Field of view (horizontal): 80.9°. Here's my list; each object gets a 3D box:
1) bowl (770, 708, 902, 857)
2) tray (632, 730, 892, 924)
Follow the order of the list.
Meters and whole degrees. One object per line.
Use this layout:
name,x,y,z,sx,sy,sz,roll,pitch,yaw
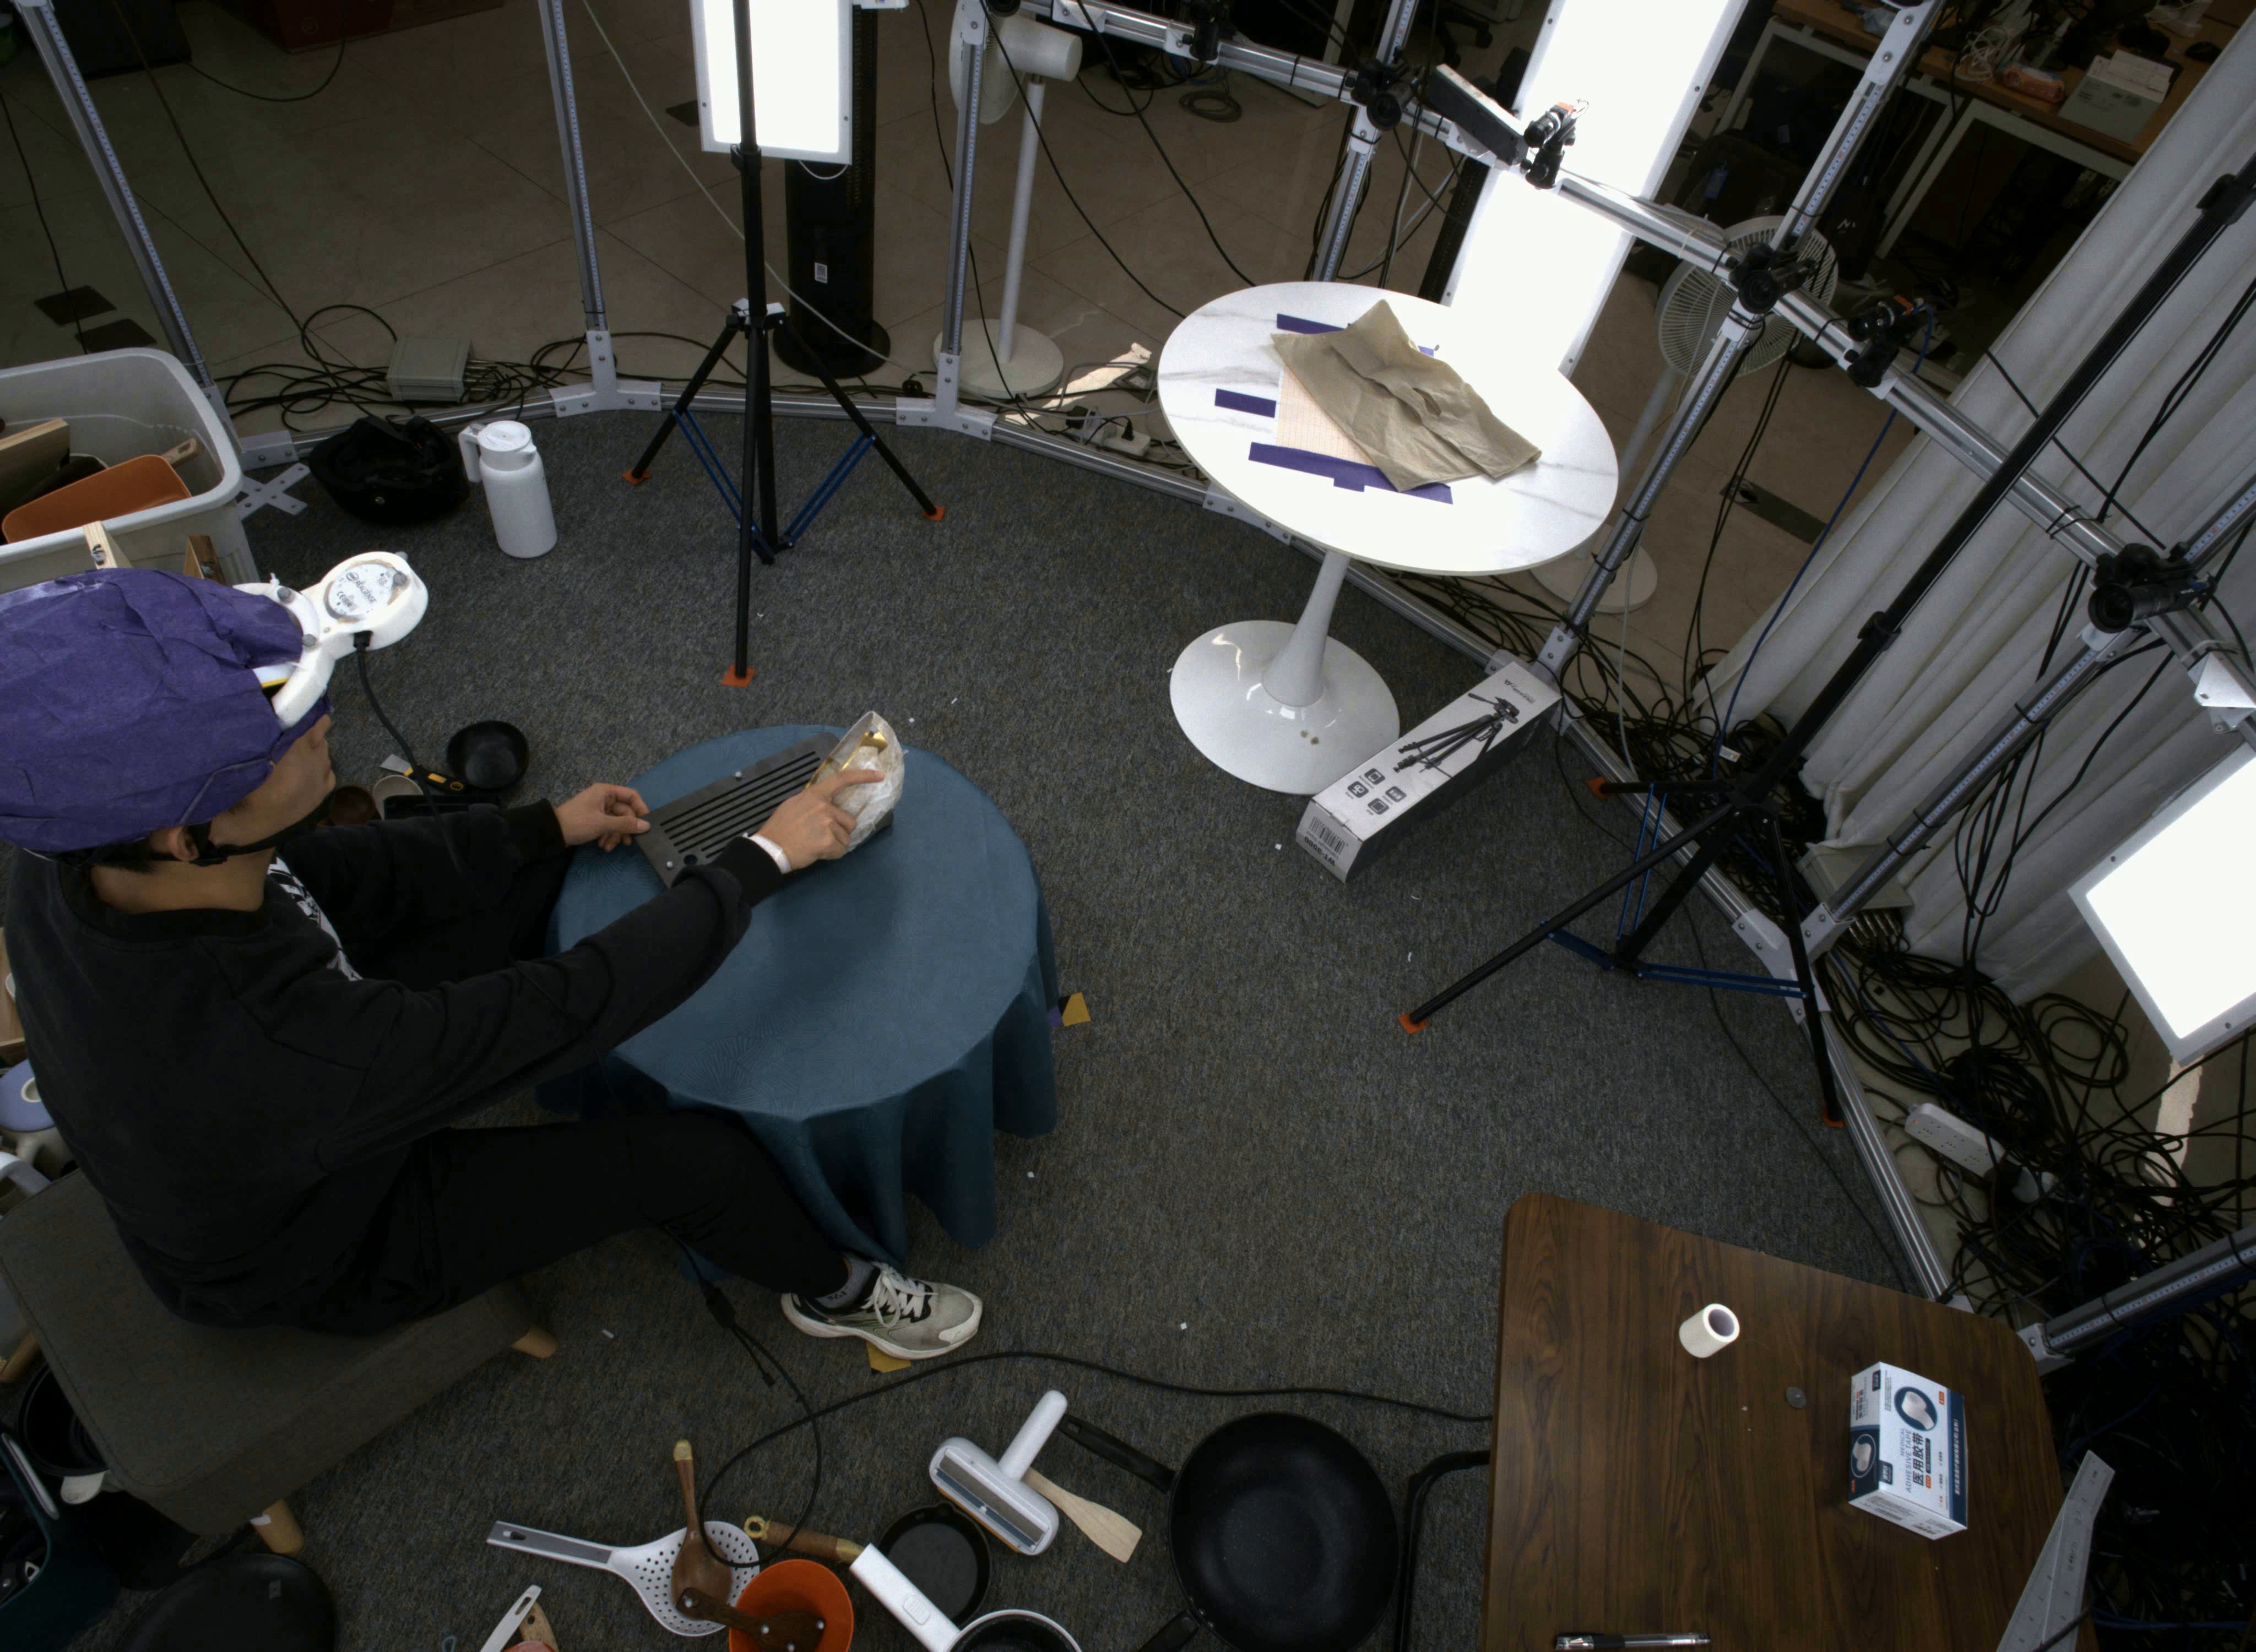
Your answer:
bowl,-0.348,-0.036,1.616,0.097,0.212,0.212,38,48,-19
tray,-0.476,-0.004,1.694,0.307,0.019,0.167,-31,74,-31
